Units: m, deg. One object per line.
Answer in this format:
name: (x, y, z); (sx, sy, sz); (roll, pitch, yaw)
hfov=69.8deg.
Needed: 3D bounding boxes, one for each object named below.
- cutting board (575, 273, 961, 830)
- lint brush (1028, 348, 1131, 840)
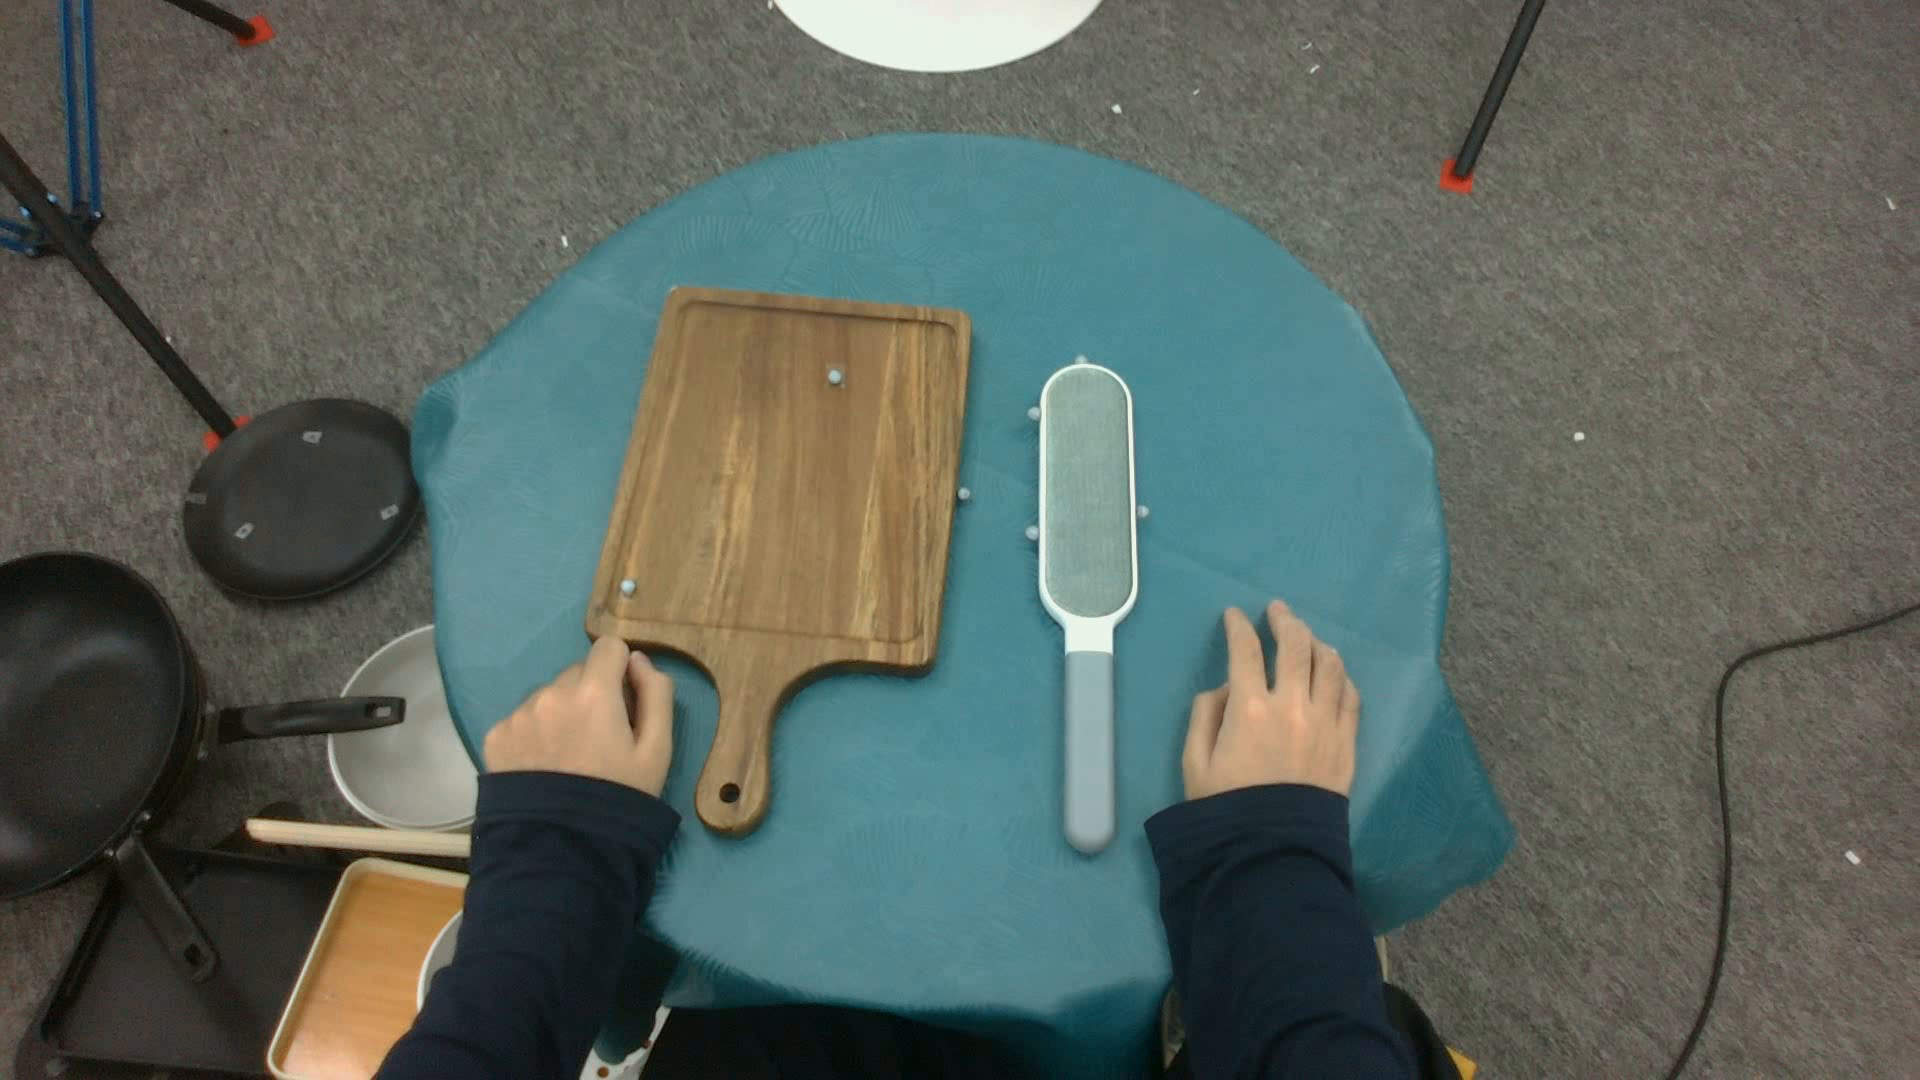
cutting board: (-0.110, -0.007, 0.795); (0.201, 0.023, 0.353); (5, 61, 1)
lint brush: (0.067, 0.018, 0.783); (0.060, 0.021, 0.310); (5, 61, -5)
